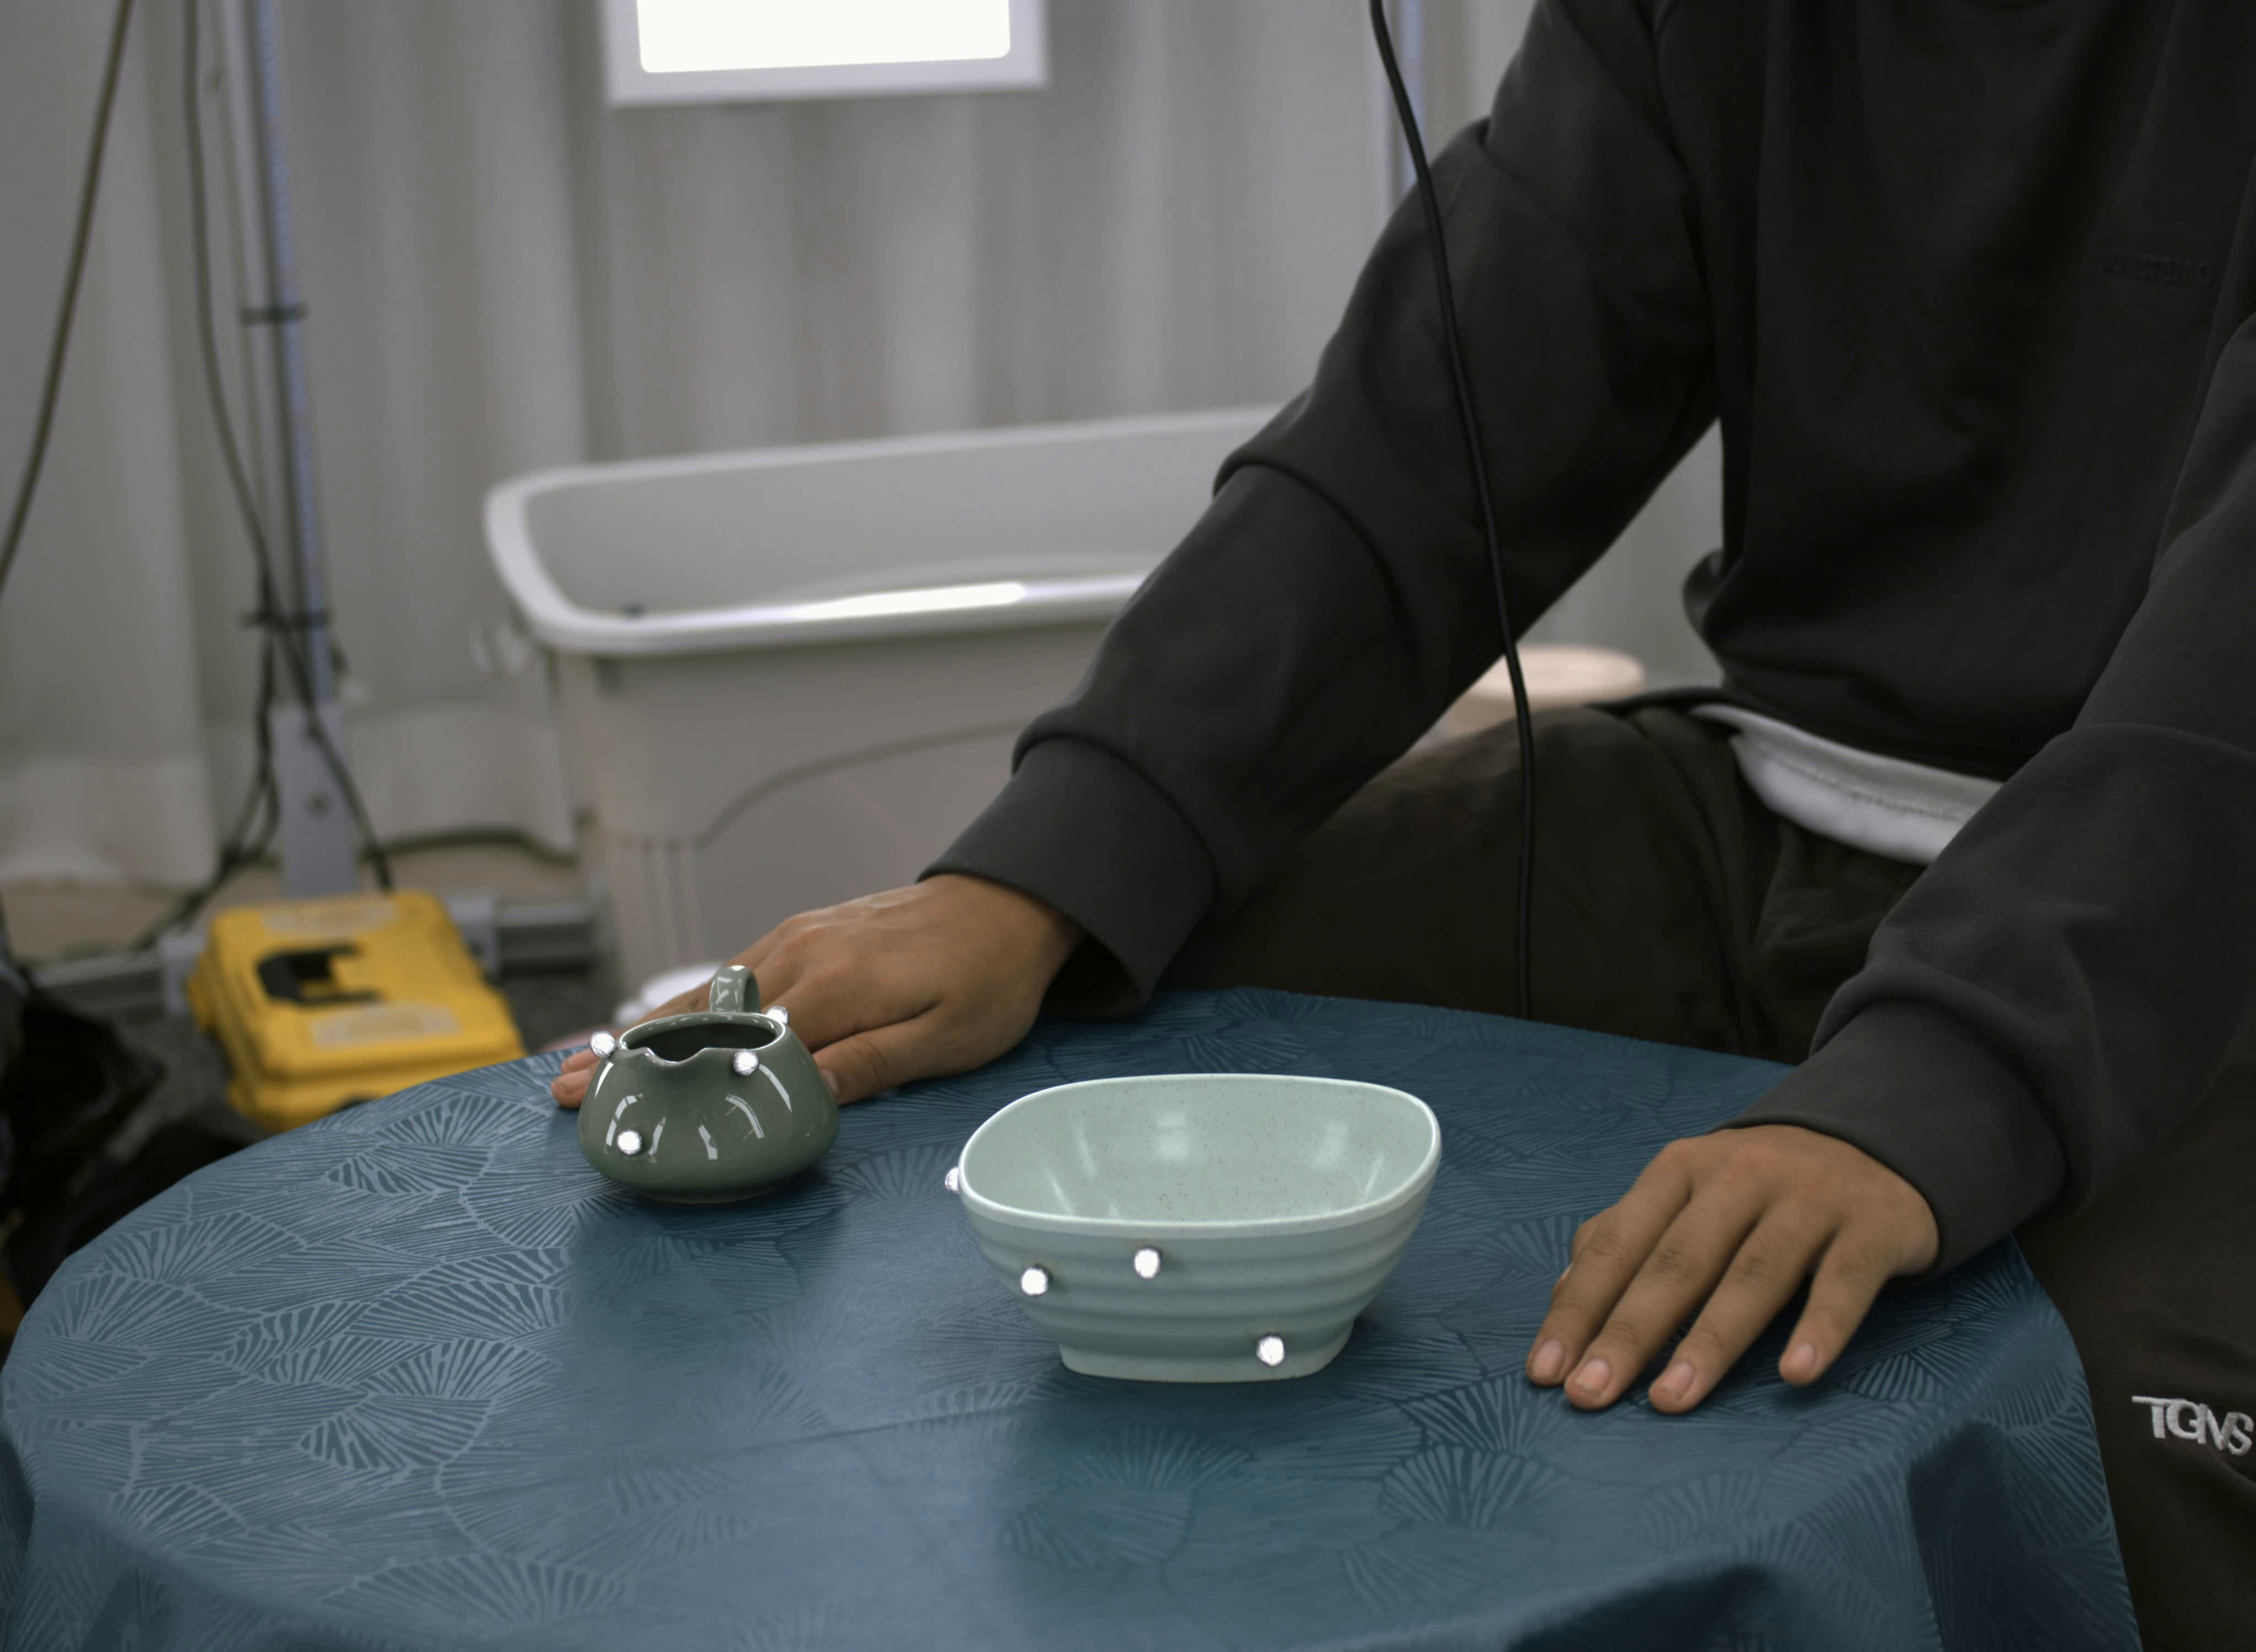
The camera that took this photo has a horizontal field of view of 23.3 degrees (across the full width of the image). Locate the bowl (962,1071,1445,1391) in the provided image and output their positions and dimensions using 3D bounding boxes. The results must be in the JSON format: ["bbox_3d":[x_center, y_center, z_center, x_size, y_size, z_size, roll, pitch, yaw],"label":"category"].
[{"bbox_3d":[0.023,0.121,1.585,0.151,0.058,0.152,-3,16,1],"label":"bowl"}]

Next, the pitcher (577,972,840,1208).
[{"bbox_3d":[-0.133,0.085,1.747,0.084,0.056,0.113,-1,14,6],"label":"pitcher"}]
